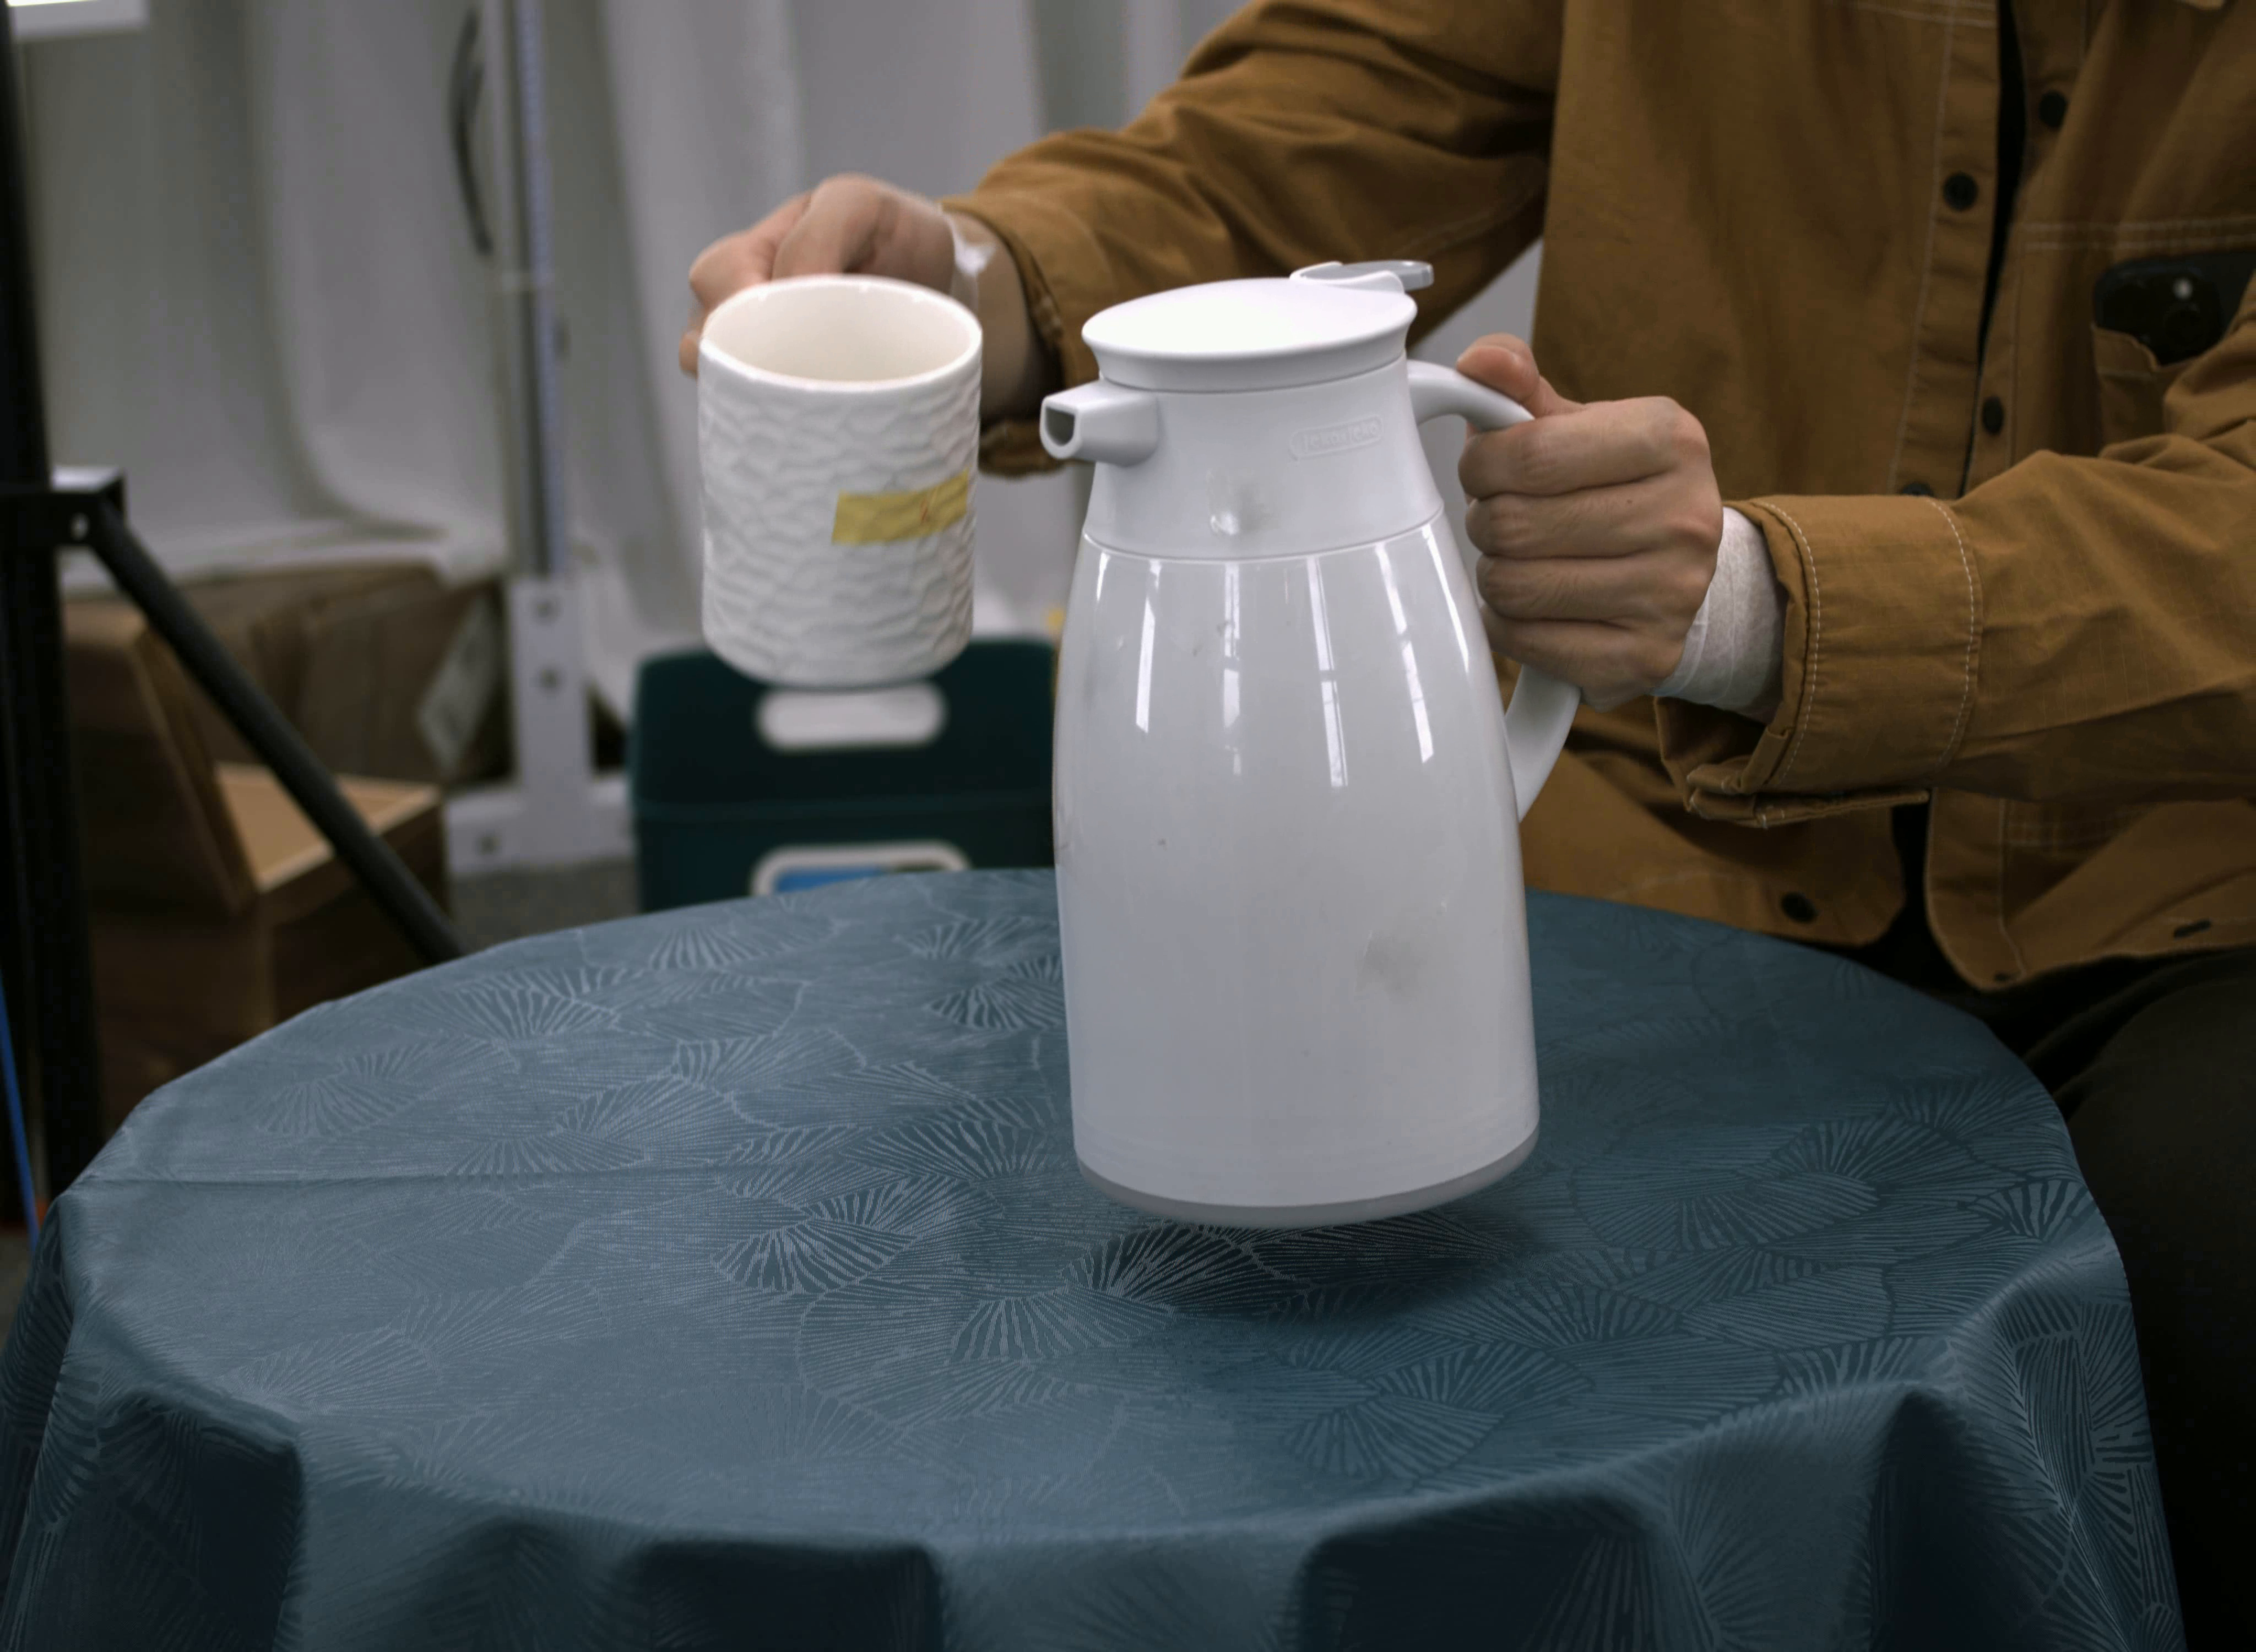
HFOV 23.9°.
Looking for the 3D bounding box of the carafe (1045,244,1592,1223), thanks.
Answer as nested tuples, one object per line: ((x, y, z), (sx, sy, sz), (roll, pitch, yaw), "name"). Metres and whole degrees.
((0.058, -0.033, 1.474), (0.164, 0.248, 0.135), (-13, 17, -29), "carafe")

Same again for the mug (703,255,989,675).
((-0.089, -0.115, 1.616), (0.084, 0.102, 0.120), (-4, 28, -12), "mug")
